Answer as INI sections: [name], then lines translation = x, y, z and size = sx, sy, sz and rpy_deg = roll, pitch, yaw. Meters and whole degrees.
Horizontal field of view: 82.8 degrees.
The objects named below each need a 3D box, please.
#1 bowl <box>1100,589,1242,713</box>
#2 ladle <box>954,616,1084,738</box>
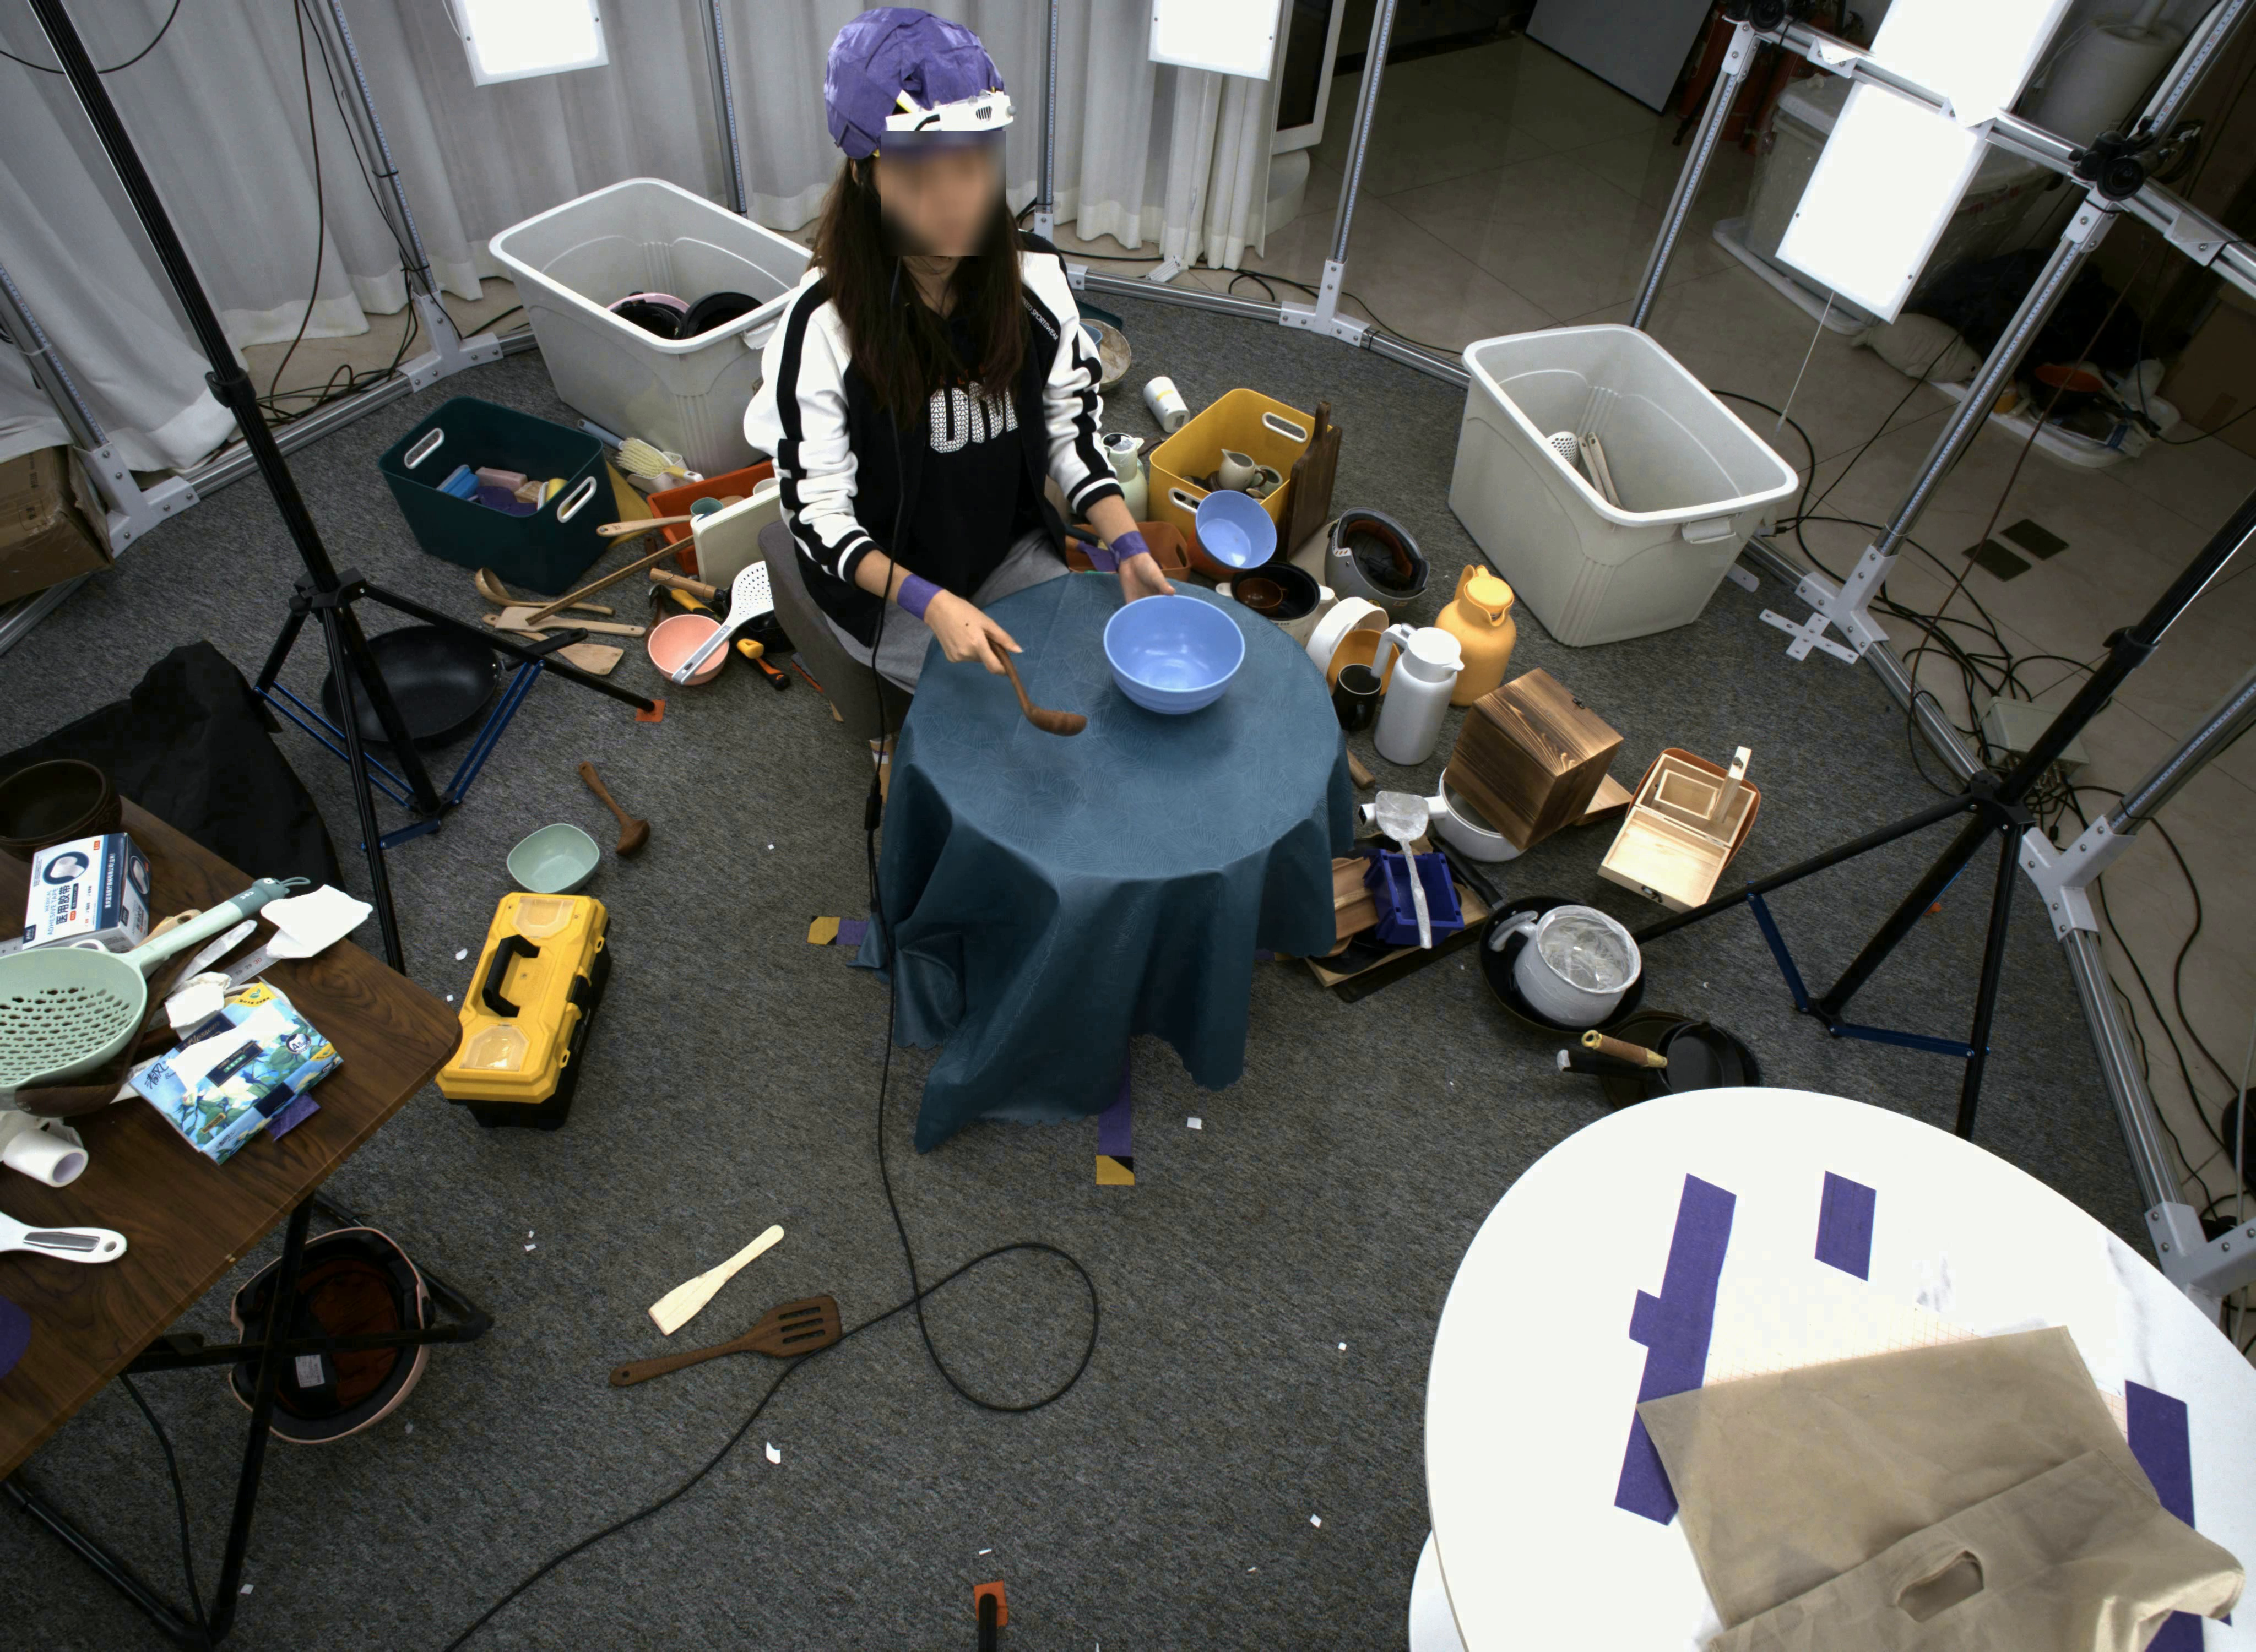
[bowl]
translation = 0.059, -0.232, 1.815
size = 0.196, 0.093, 0.201
rpy_deg = 0, 55, -1
[ladle]
translation = -0.148, -0.209, 1.716
size = 0.064, 0.075, 0.265
rpy_deg = -44, 62, 16
